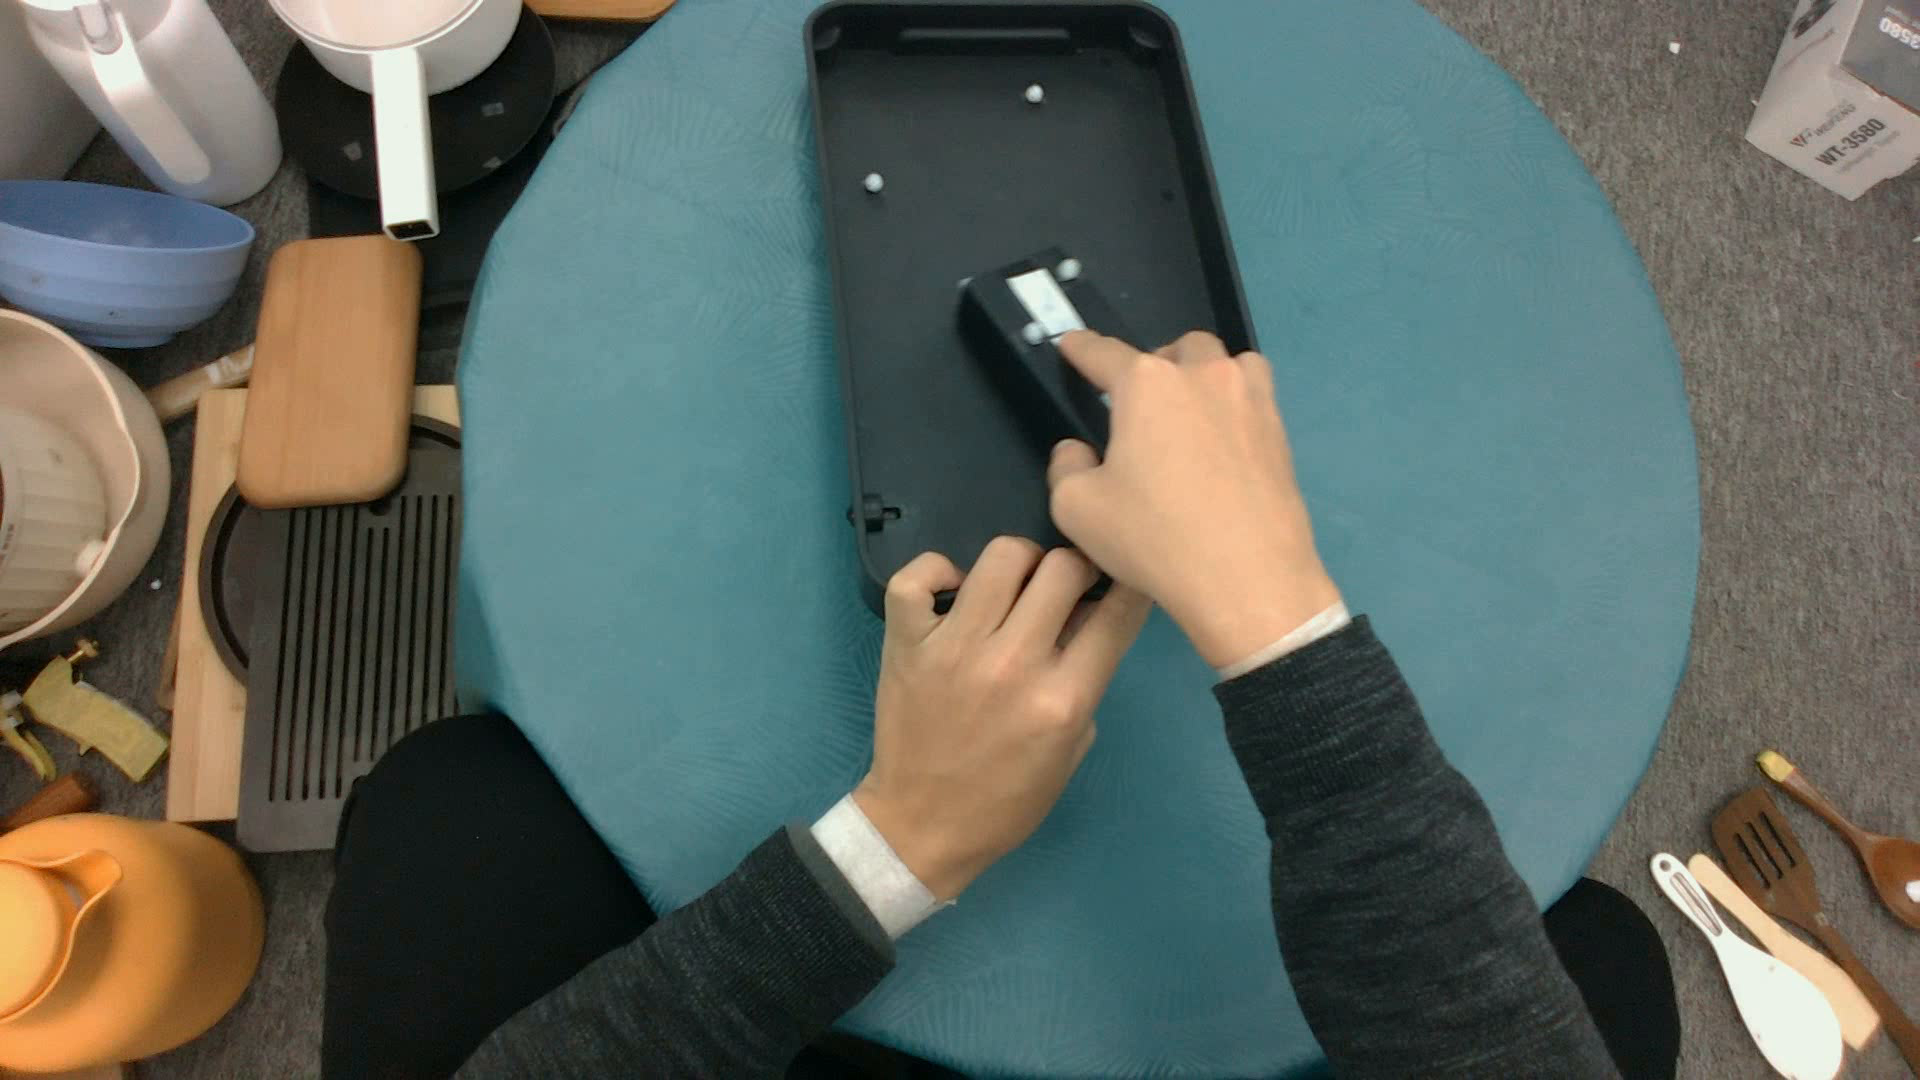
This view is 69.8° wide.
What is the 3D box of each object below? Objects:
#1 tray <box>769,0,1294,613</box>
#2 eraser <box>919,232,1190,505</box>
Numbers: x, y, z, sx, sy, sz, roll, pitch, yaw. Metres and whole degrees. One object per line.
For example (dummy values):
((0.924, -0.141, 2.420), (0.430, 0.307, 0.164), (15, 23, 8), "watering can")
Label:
((0.022, -0.123, 0.618), (0.184, 0.037, 0.319), (-6, 64, -11), "tray")
((0.037, -0.075, 0.586), (0.053, 0.030, 0.125), (-29, 64, -20), "eraser")
